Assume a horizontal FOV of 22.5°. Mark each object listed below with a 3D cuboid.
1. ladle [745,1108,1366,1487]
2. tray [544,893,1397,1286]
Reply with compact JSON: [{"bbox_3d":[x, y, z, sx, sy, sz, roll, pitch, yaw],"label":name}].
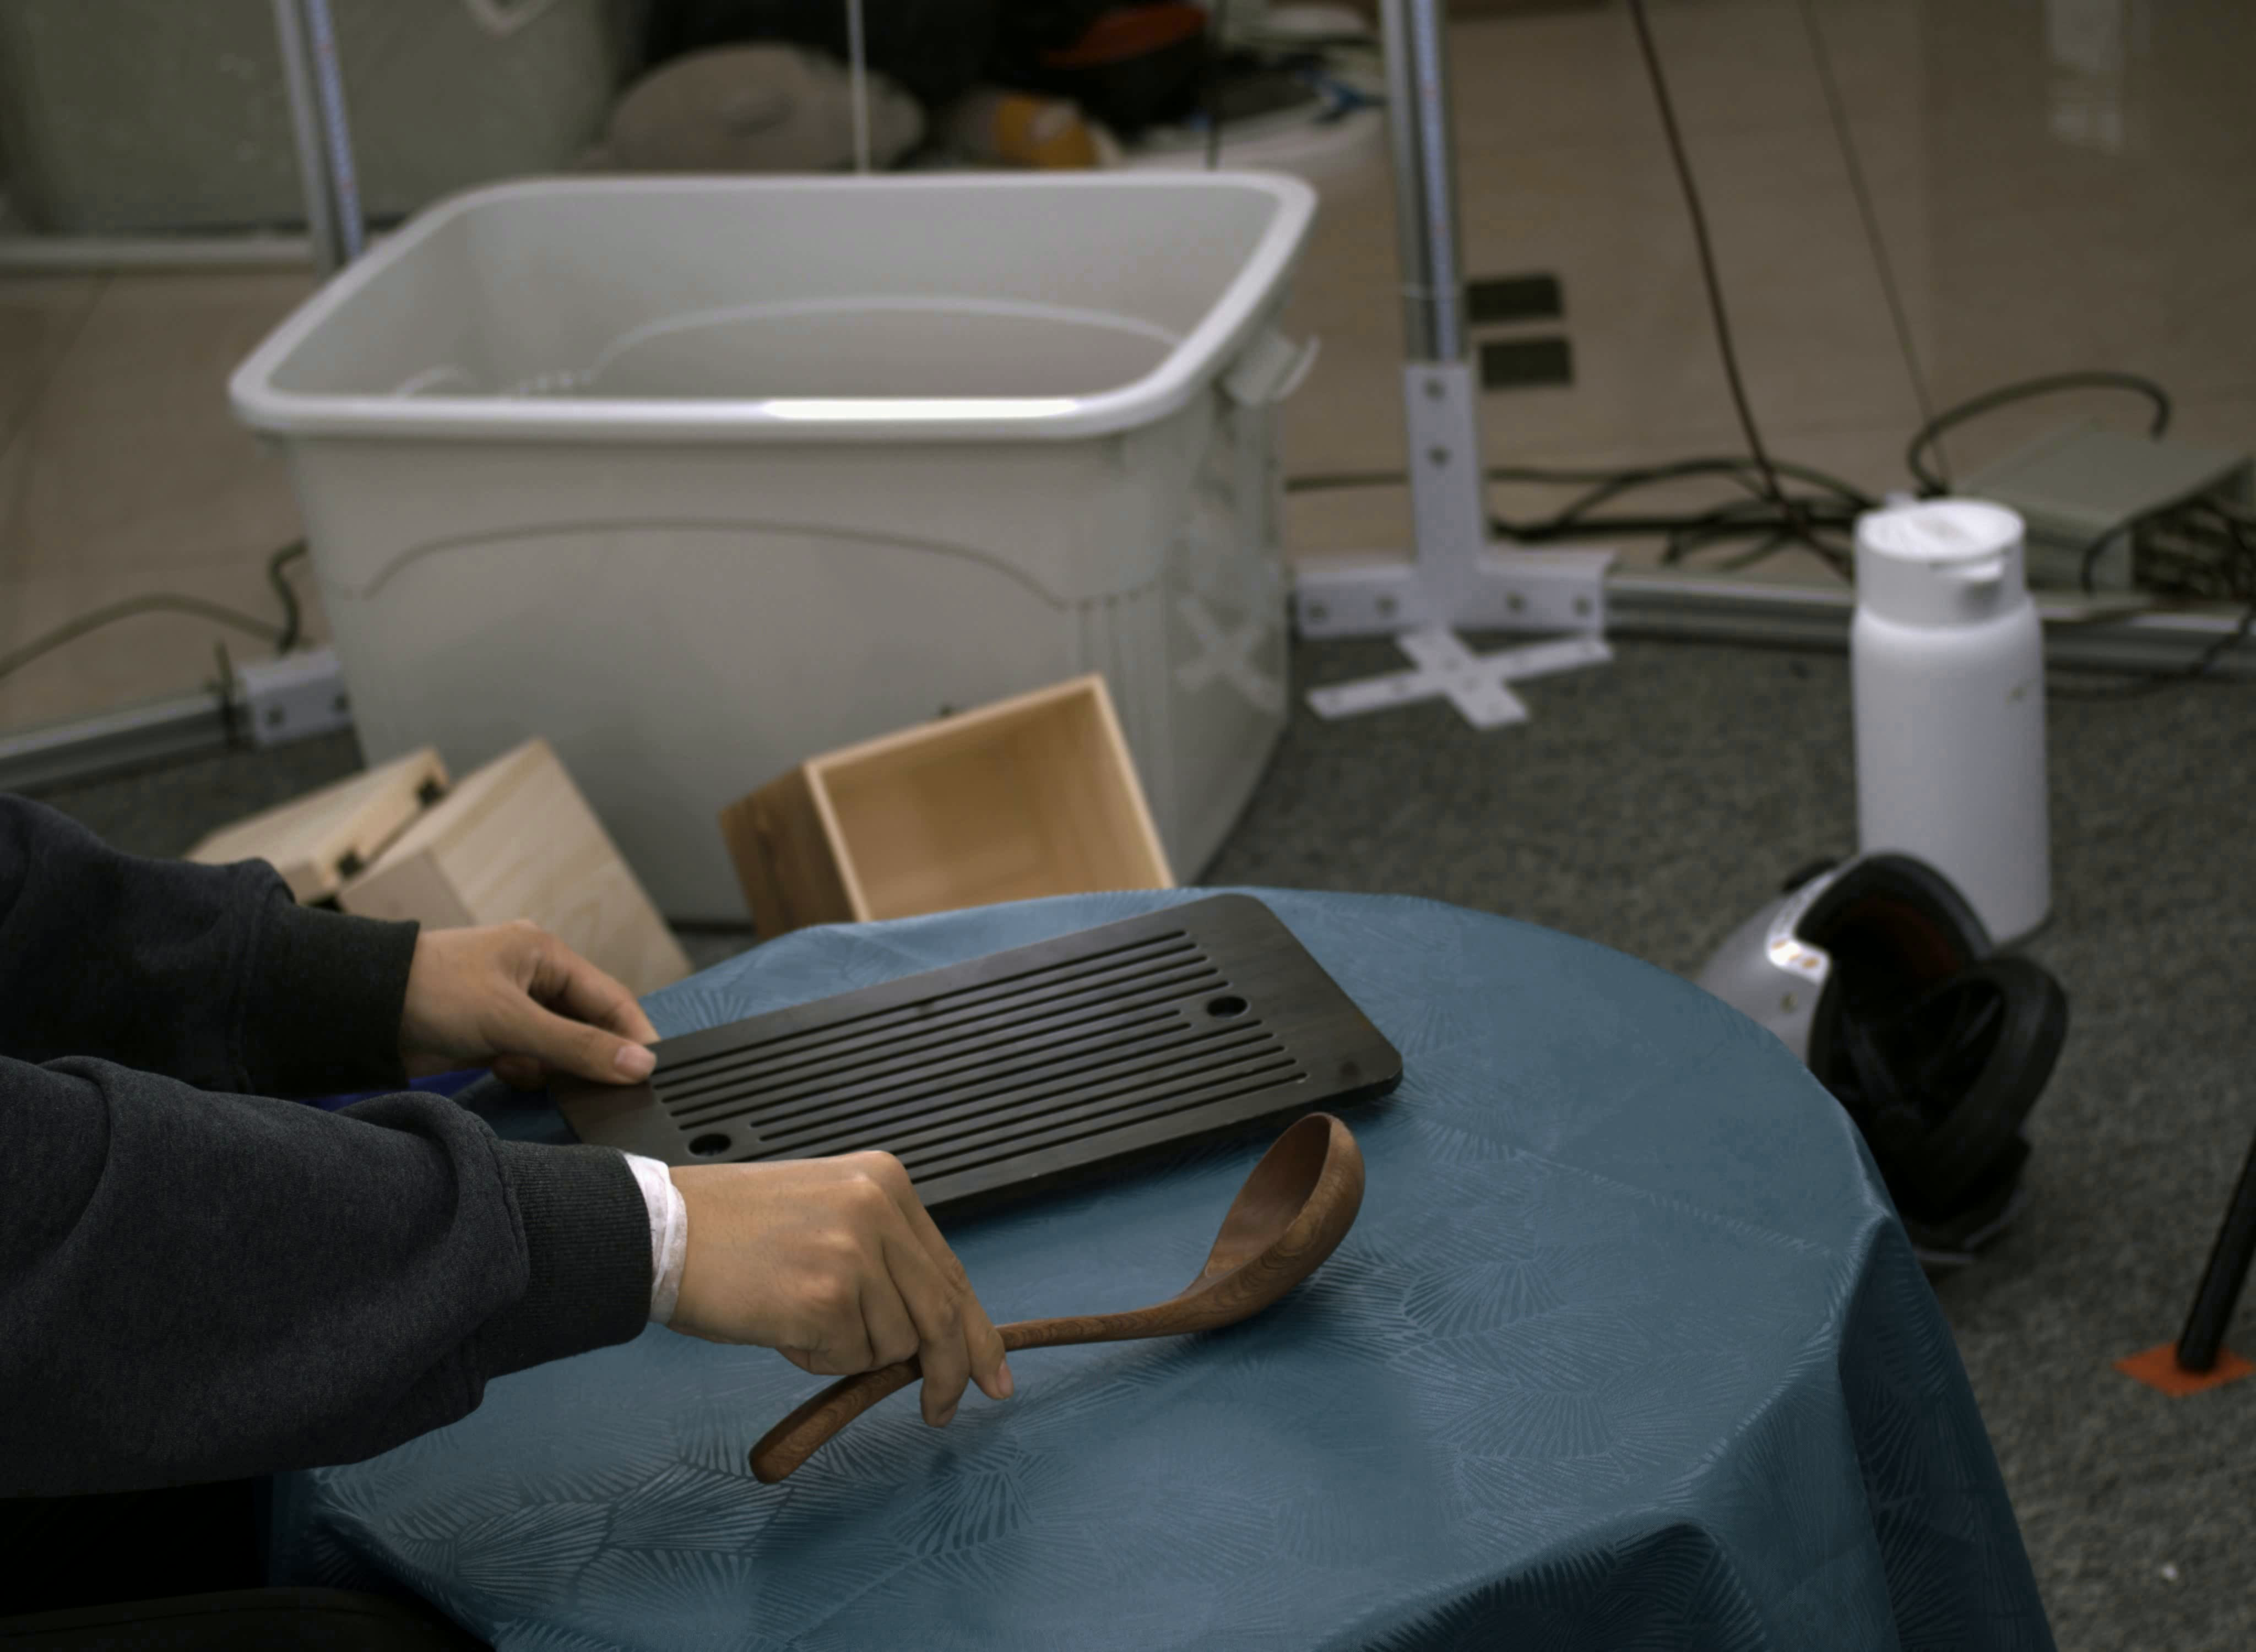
[{"bbox_3d":[-0.027,0.165,2.016,0.259,0.065,0.077,-17,-5,-25],"label":"ladle"},{"bbox_3d":[-0.063,0.101,2.210,0.305,0.019,0.168,-14,30,-16],"label":"tray"}]
